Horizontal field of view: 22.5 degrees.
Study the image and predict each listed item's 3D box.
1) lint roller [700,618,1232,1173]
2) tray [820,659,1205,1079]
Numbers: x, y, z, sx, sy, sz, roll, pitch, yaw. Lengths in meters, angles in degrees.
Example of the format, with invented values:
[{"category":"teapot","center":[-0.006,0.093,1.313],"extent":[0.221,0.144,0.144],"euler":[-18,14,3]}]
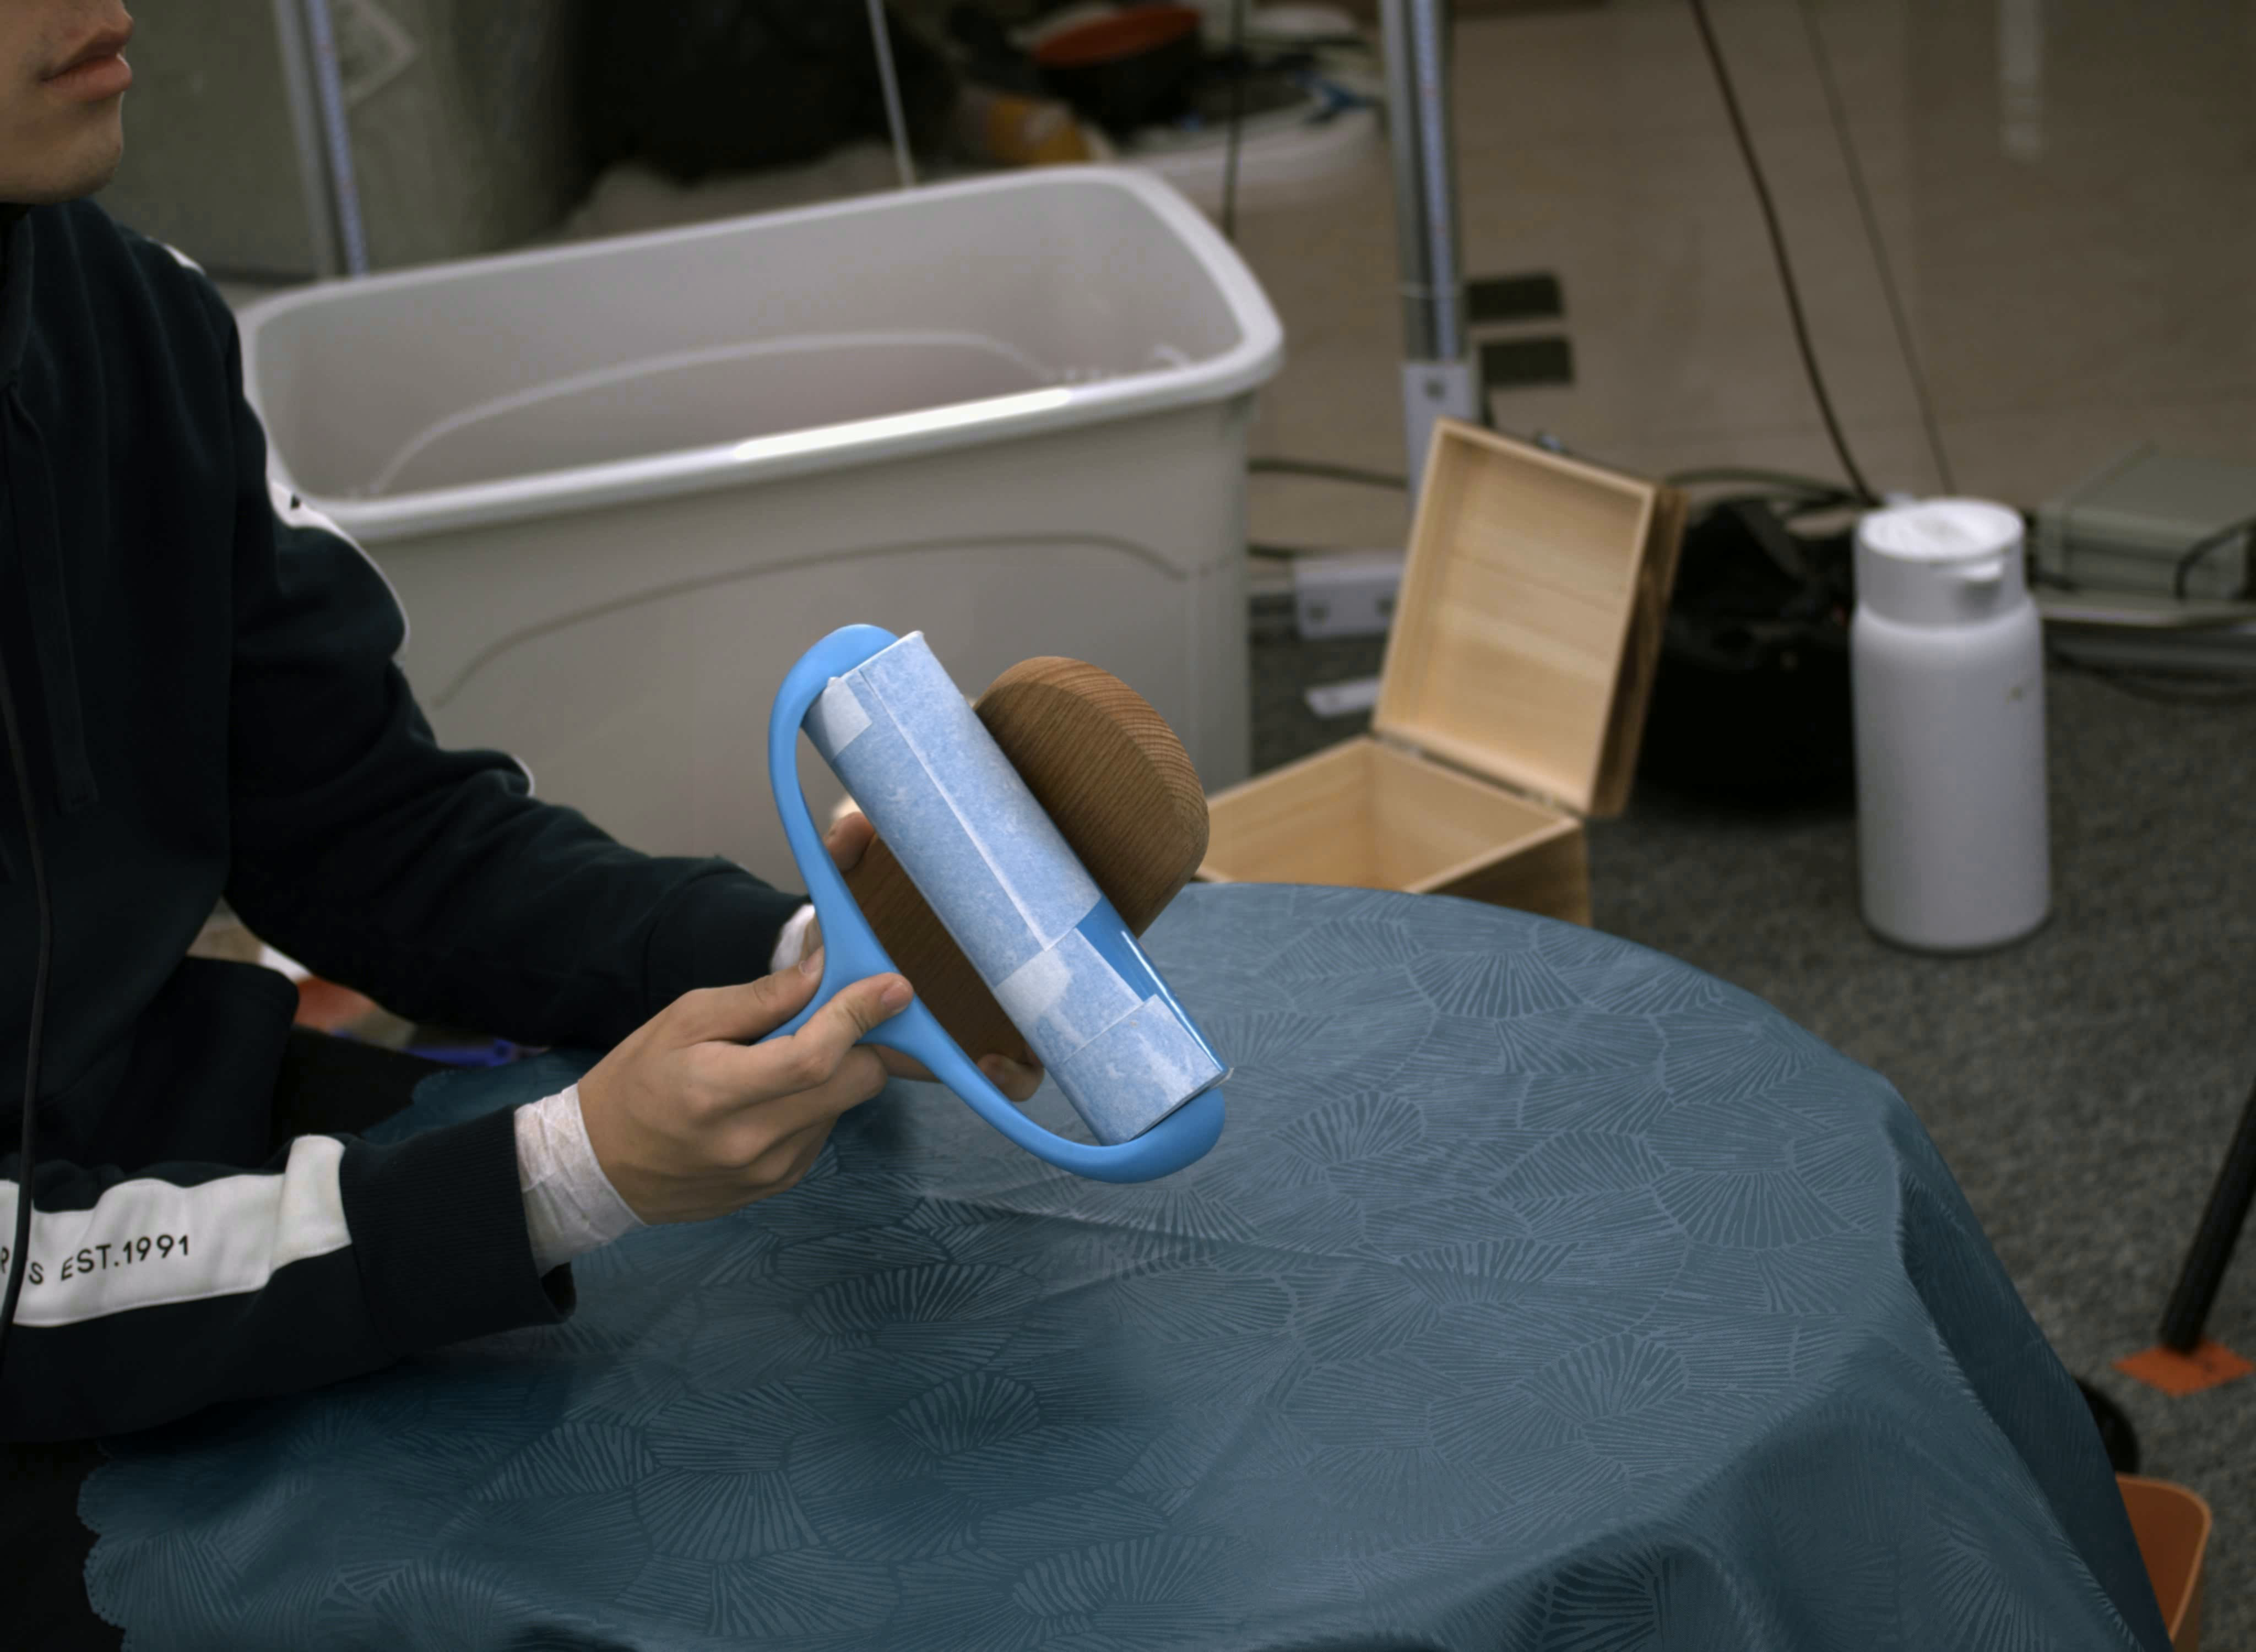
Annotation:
[{"category":"lint roller","center":[-0.086,0.059,2.020],"extent":[0.181,0.228,0.067],"euler":[-40,-3,12]},{"category":"tray","center":[-0.046,0.019,2.070],"extent":[0.101,0.234,0.020],"euler":[46,49,4]}]
